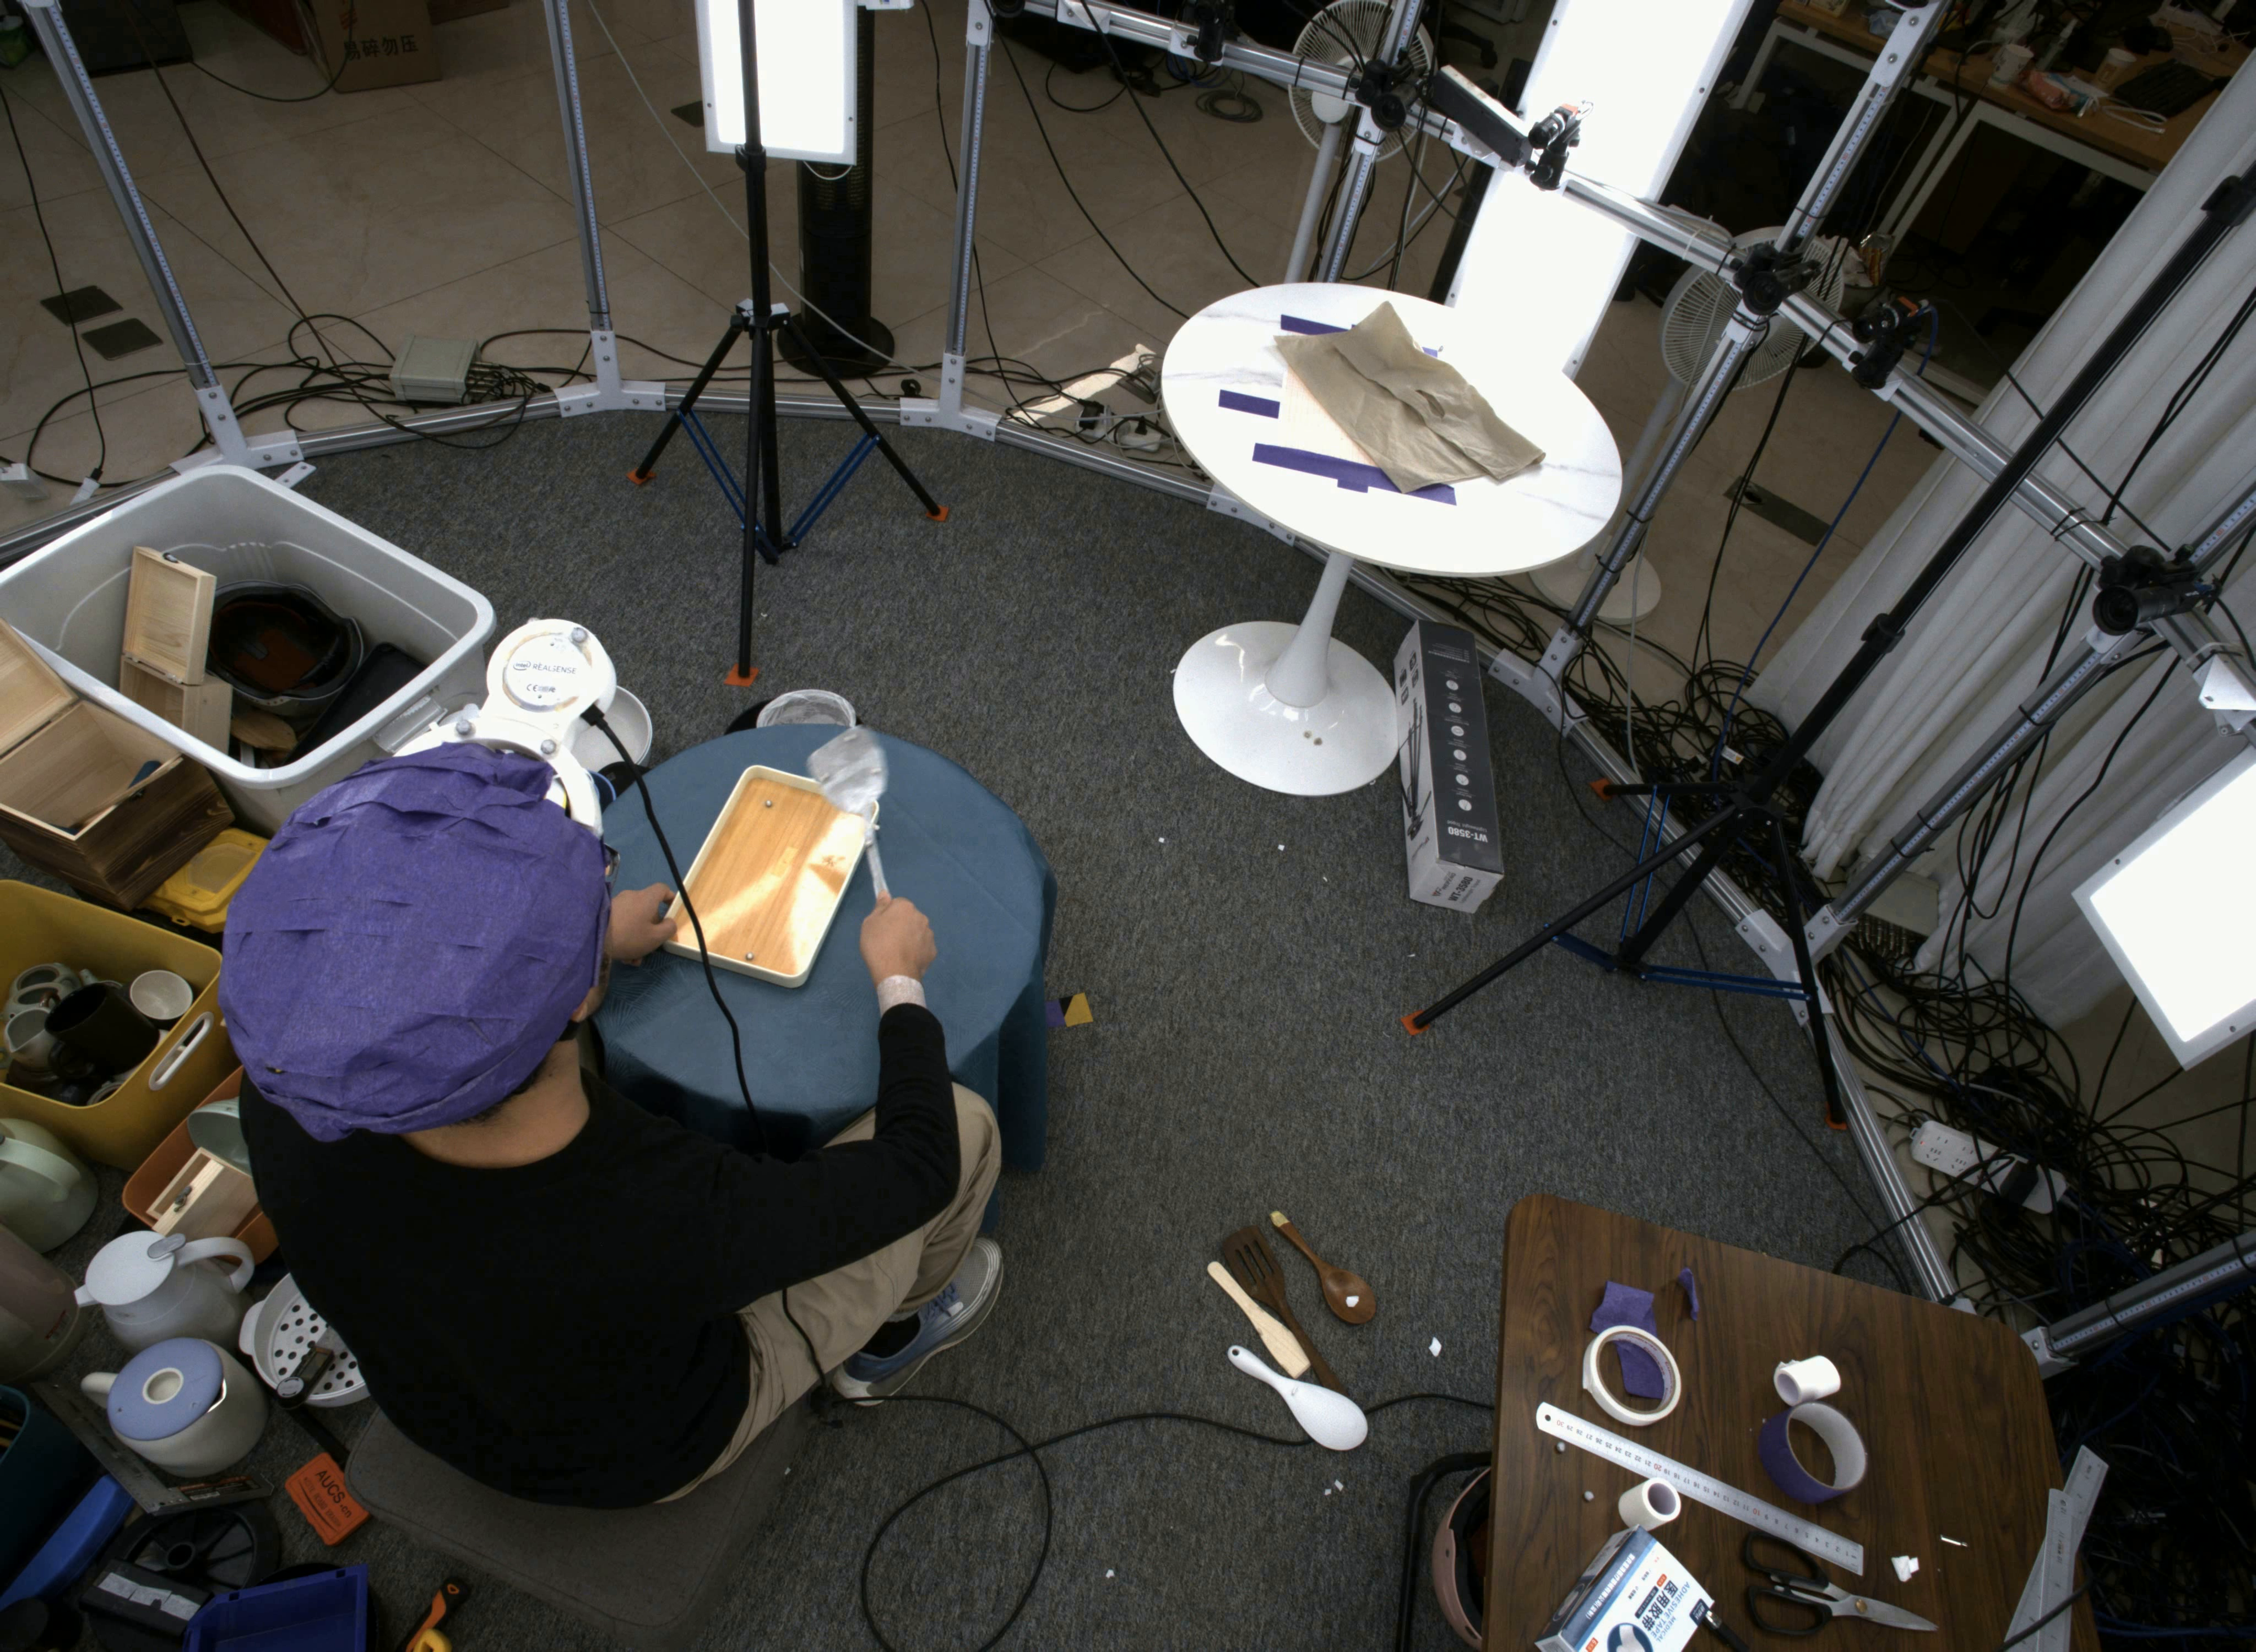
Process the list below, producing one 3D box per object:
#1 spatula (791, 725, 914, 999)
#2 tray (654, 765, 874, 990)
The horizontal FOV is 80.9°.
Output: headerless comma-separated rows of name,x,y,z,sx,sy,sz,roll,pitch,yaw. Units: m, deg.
spatula,-0.320,0.041,1.560,0.098,0.046,0.357,-33,61,16
tray,-0.458,0.058,1.650,0.190,0.028,0.296,17,52,-2
